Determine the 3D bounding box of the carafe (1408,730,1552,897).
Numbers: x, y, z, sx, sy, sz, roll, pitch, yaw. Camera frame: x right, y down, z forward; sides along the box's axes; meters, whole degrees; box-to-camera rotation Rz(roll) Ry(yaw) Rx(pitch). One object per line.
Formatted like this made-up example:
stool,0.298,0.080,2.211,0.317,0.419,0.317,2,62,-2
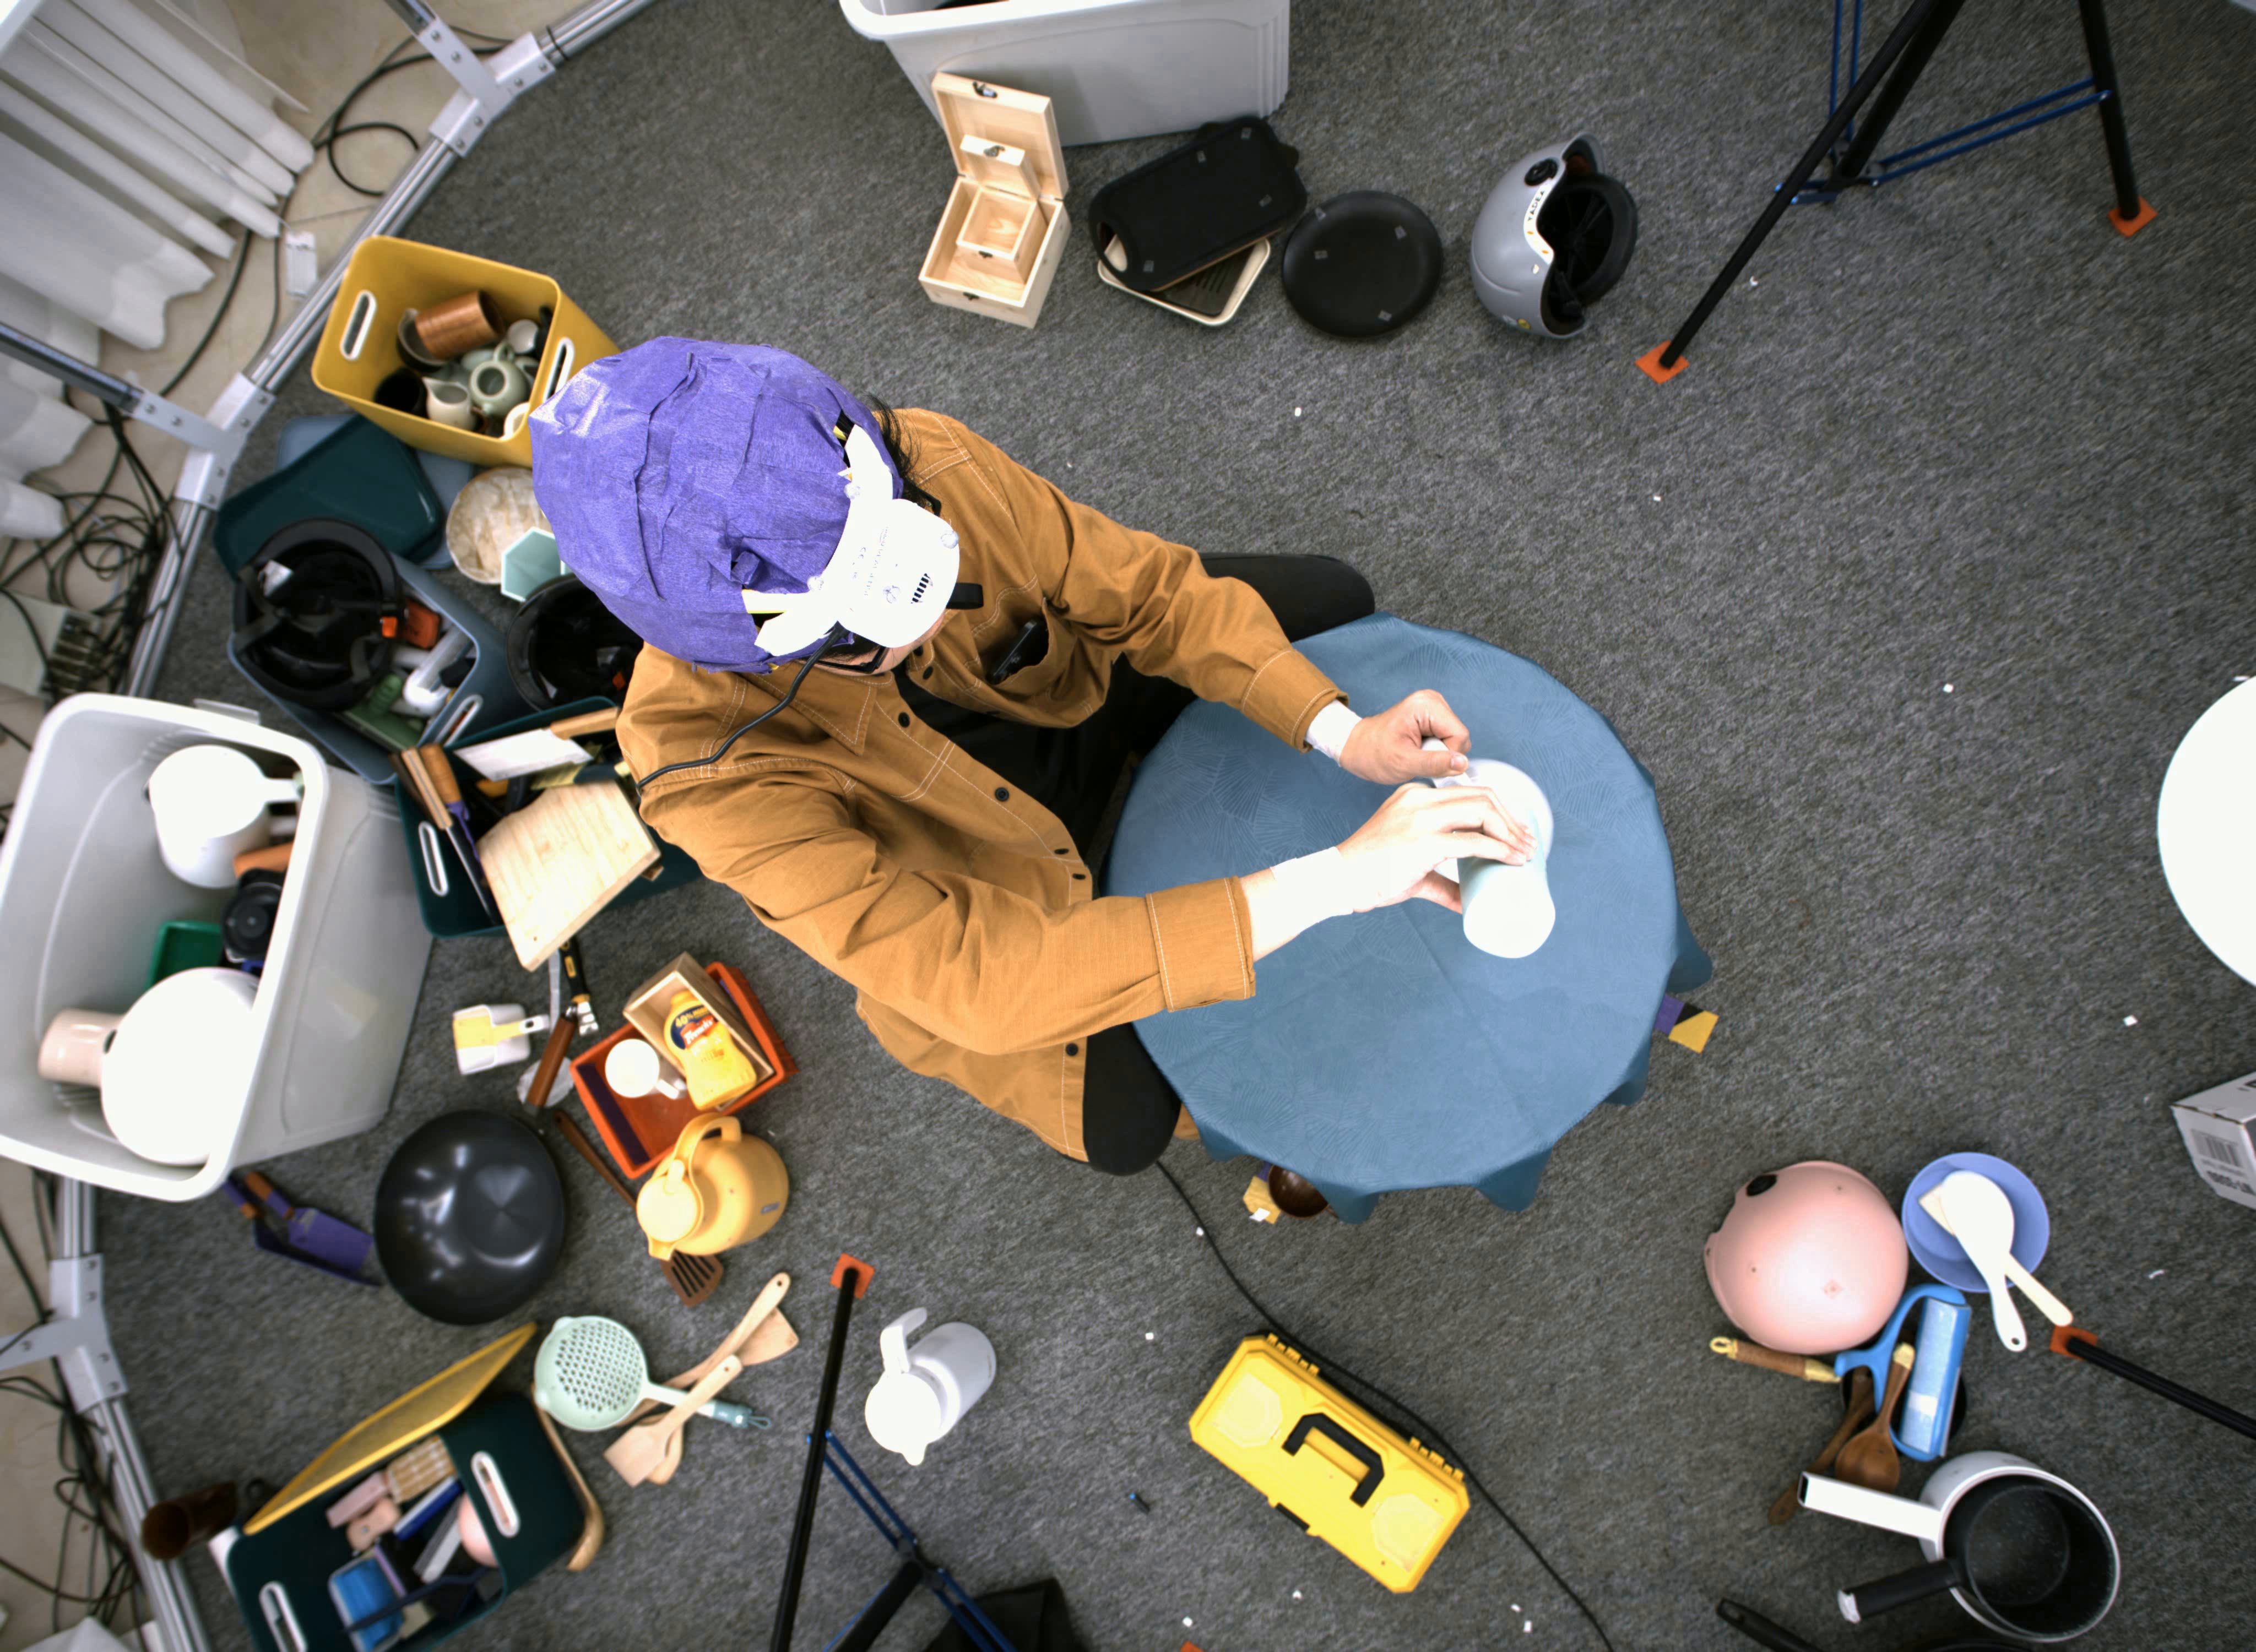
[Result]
carafe,0.313,-0.013,1.261,0.134,0.247,0.167,-33,86,11

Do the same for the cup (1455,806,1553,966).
cup,0.277,0.041,1.026,0.067,0.129,0.068,5,120,8
